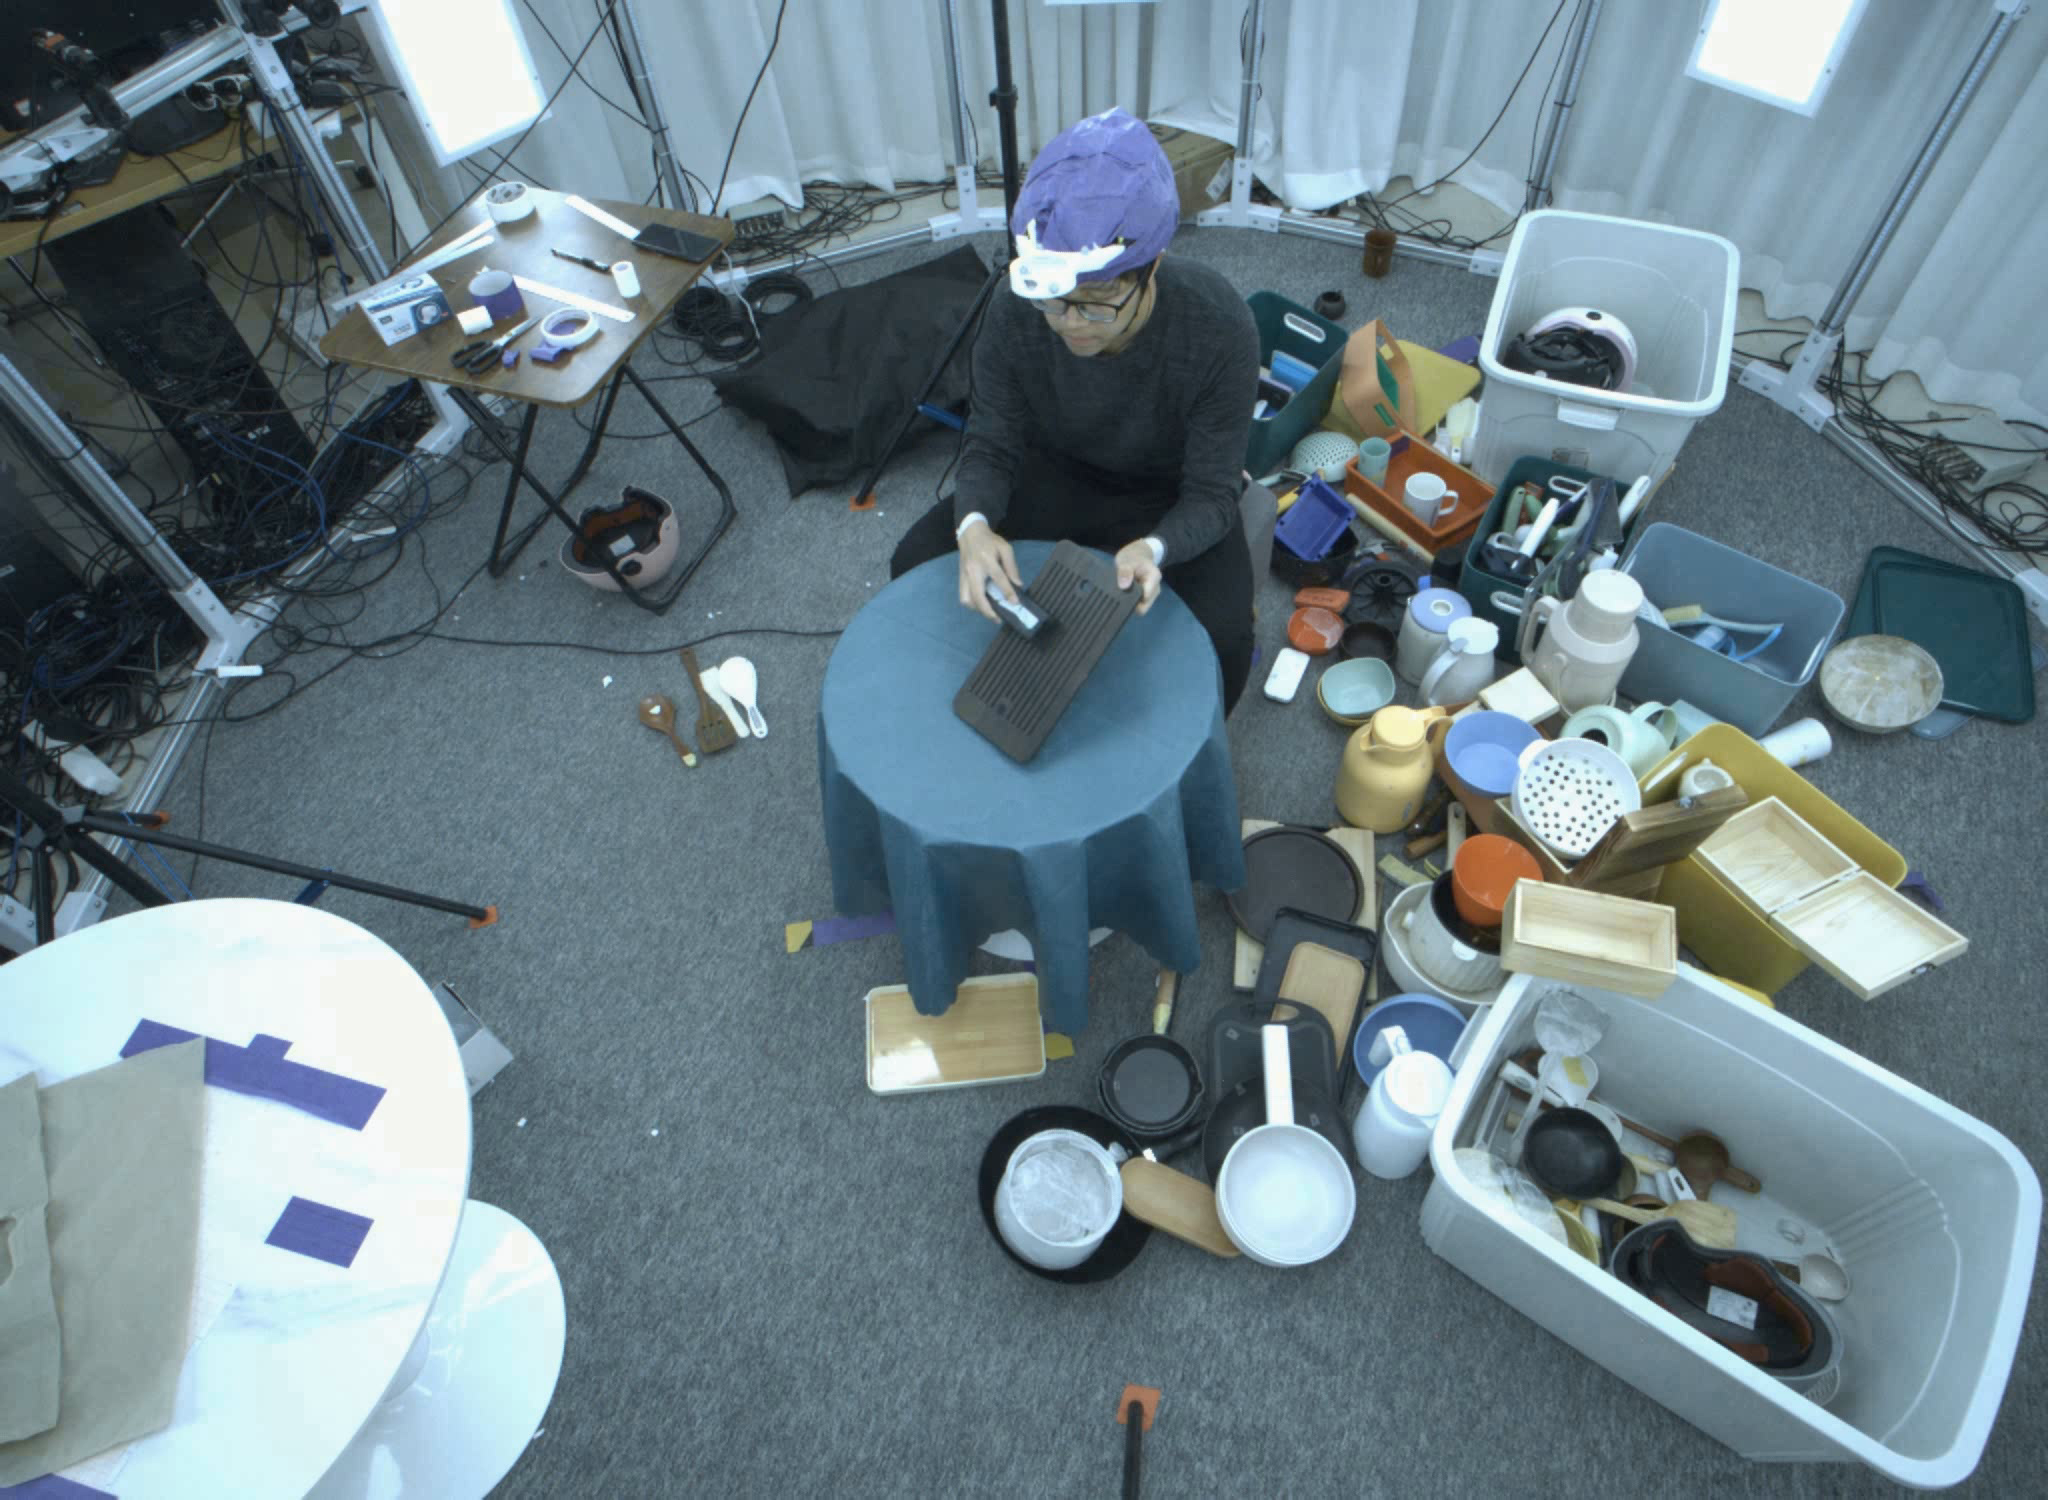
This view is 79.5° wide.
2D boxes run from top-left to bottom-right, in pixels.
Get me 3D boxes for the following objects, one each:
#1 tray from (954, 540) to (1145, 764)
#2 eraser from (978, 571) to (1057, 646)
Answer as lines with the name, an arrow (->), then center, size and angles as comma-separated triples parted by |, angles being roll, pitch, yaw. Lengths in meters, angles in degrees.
tray -> 0.035, -0.143, 1.782 | 0.167, 0.019, 0.305 | 37, 96, 29
eraser -> -0.010, -0.207, 1.793 | 0.123, 0.031, 0.053 | 43, 95, 29
